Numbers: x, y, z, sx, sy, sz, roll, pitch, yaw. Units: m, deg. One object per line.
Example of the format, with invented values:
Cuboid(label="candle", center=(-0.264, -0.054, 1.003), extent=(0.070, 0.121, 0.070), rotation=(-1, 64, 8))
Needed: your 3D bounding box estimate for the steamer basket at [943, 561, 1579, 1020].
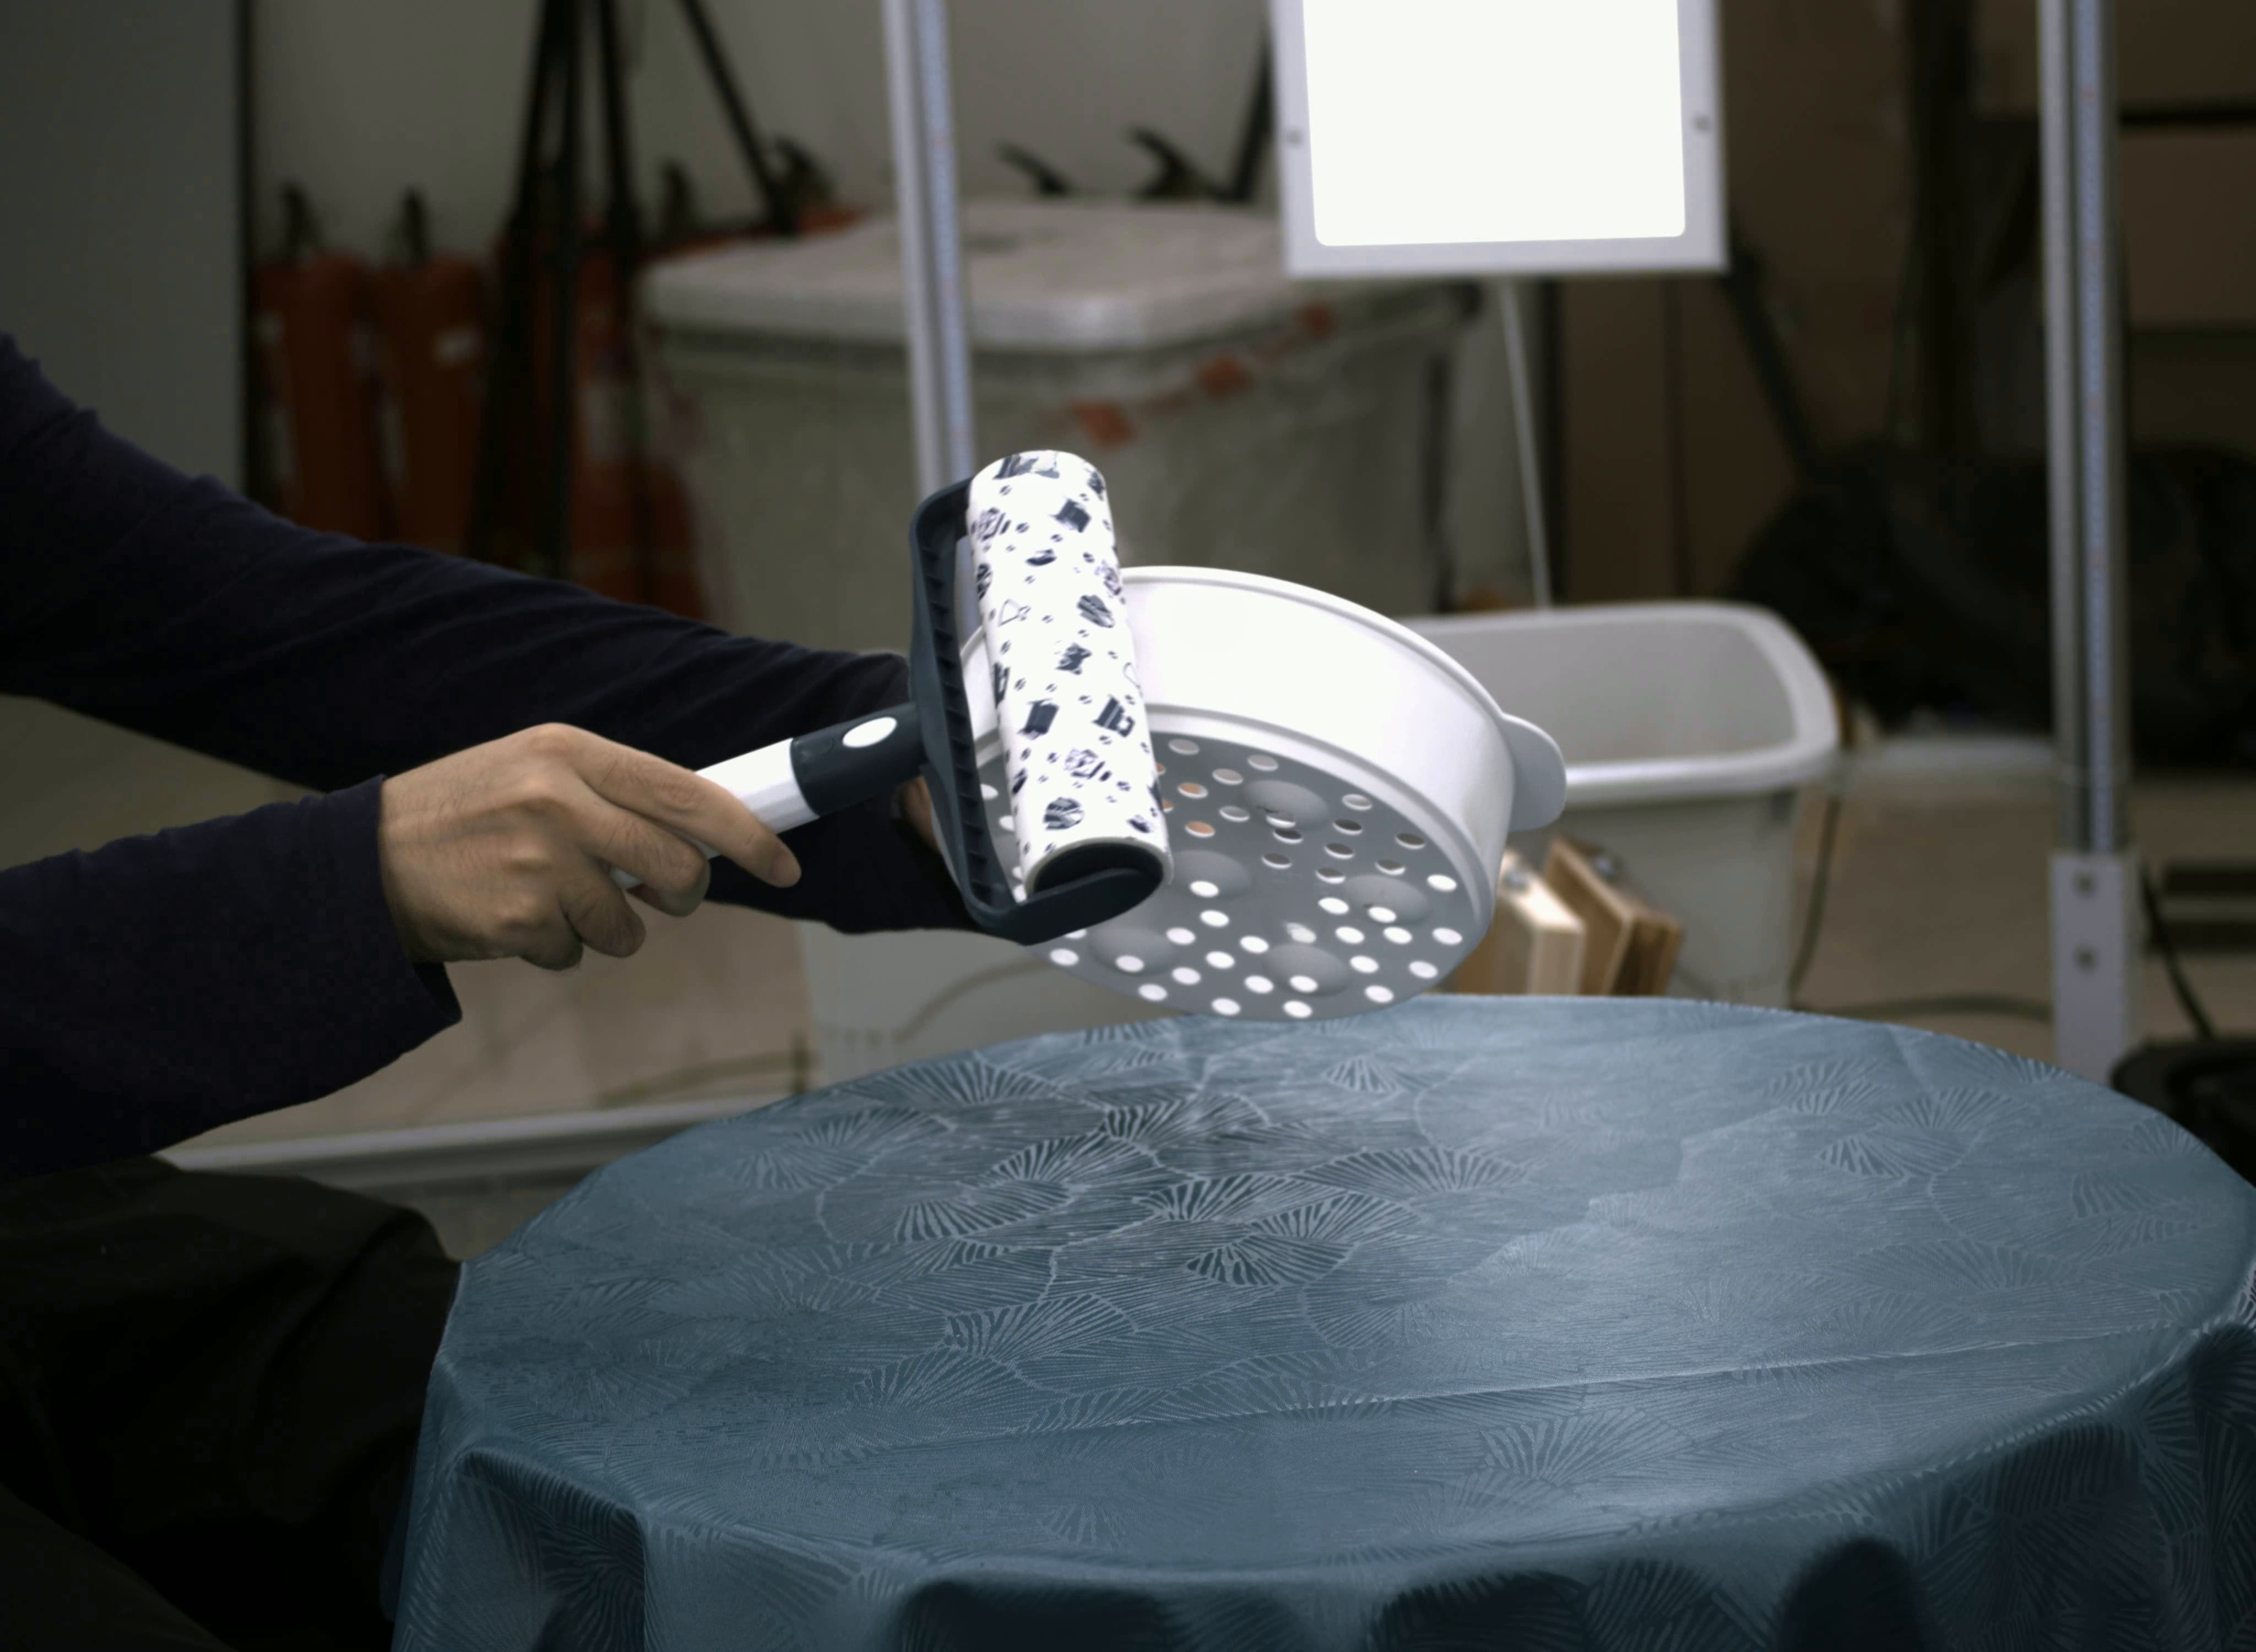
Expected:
Cuboid(label="steamer basket", center=(0.036, -0.006, 1.873), extent=(0.232, 0.202, 0.069), rotation=(7, 59, 13))

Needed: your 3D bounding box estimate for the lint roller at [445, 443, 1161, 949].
Cuboid(label="lint roller", center=(-0.115, -0.014, 1.797), extent=(0.249, 0.050, 0.176), rotation=(-20, 54, 14))
